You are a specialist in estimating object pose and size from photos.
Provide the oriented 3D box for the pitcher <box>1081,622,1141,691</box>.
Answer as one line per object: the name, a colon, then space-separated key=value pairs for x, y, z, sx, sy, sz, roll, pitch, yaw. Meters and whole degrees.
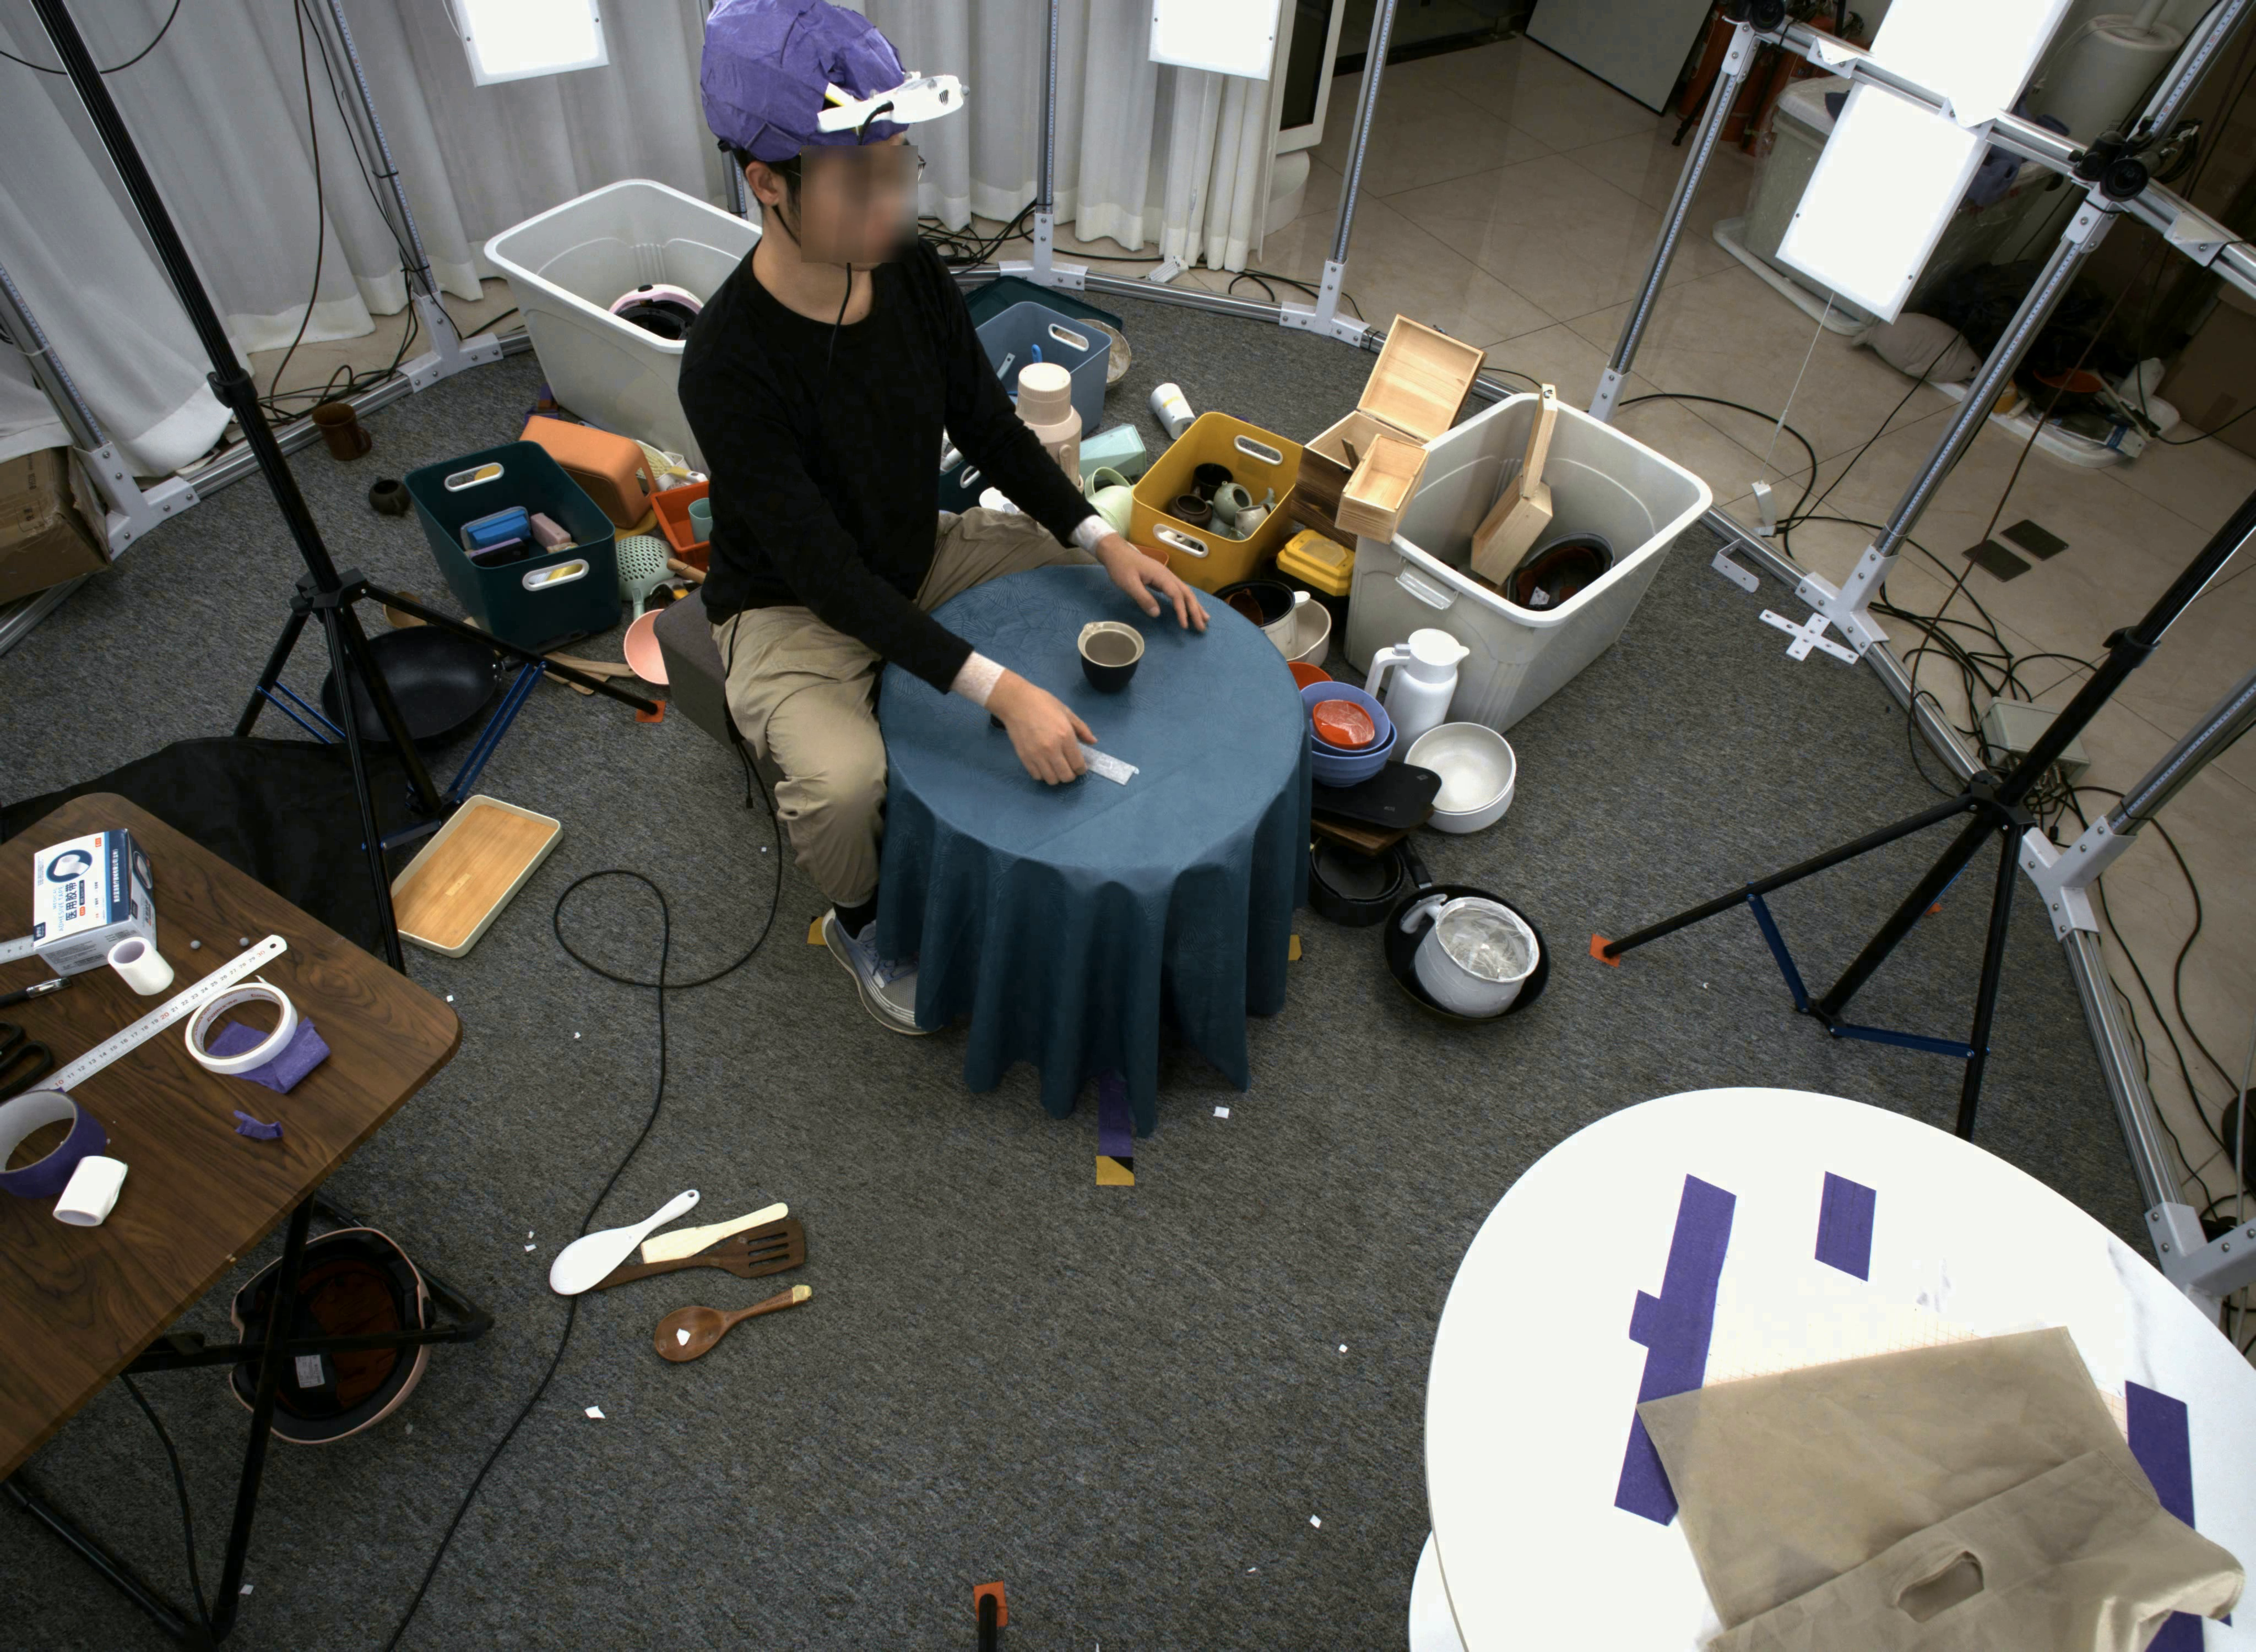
pitcher: x=-0.029 y=-0.237 z=1.827 sx=0.084 sy=0.069 sz=0.097 roll=-31 pitch=58 yaw=-26

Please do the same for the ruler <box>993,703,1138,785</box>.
ruler: x=-0.090 y=-0.115 z=1.748 sx=0.220 sy=0.023 sz=0.039 roll=24 pitch=57 yaw=17
